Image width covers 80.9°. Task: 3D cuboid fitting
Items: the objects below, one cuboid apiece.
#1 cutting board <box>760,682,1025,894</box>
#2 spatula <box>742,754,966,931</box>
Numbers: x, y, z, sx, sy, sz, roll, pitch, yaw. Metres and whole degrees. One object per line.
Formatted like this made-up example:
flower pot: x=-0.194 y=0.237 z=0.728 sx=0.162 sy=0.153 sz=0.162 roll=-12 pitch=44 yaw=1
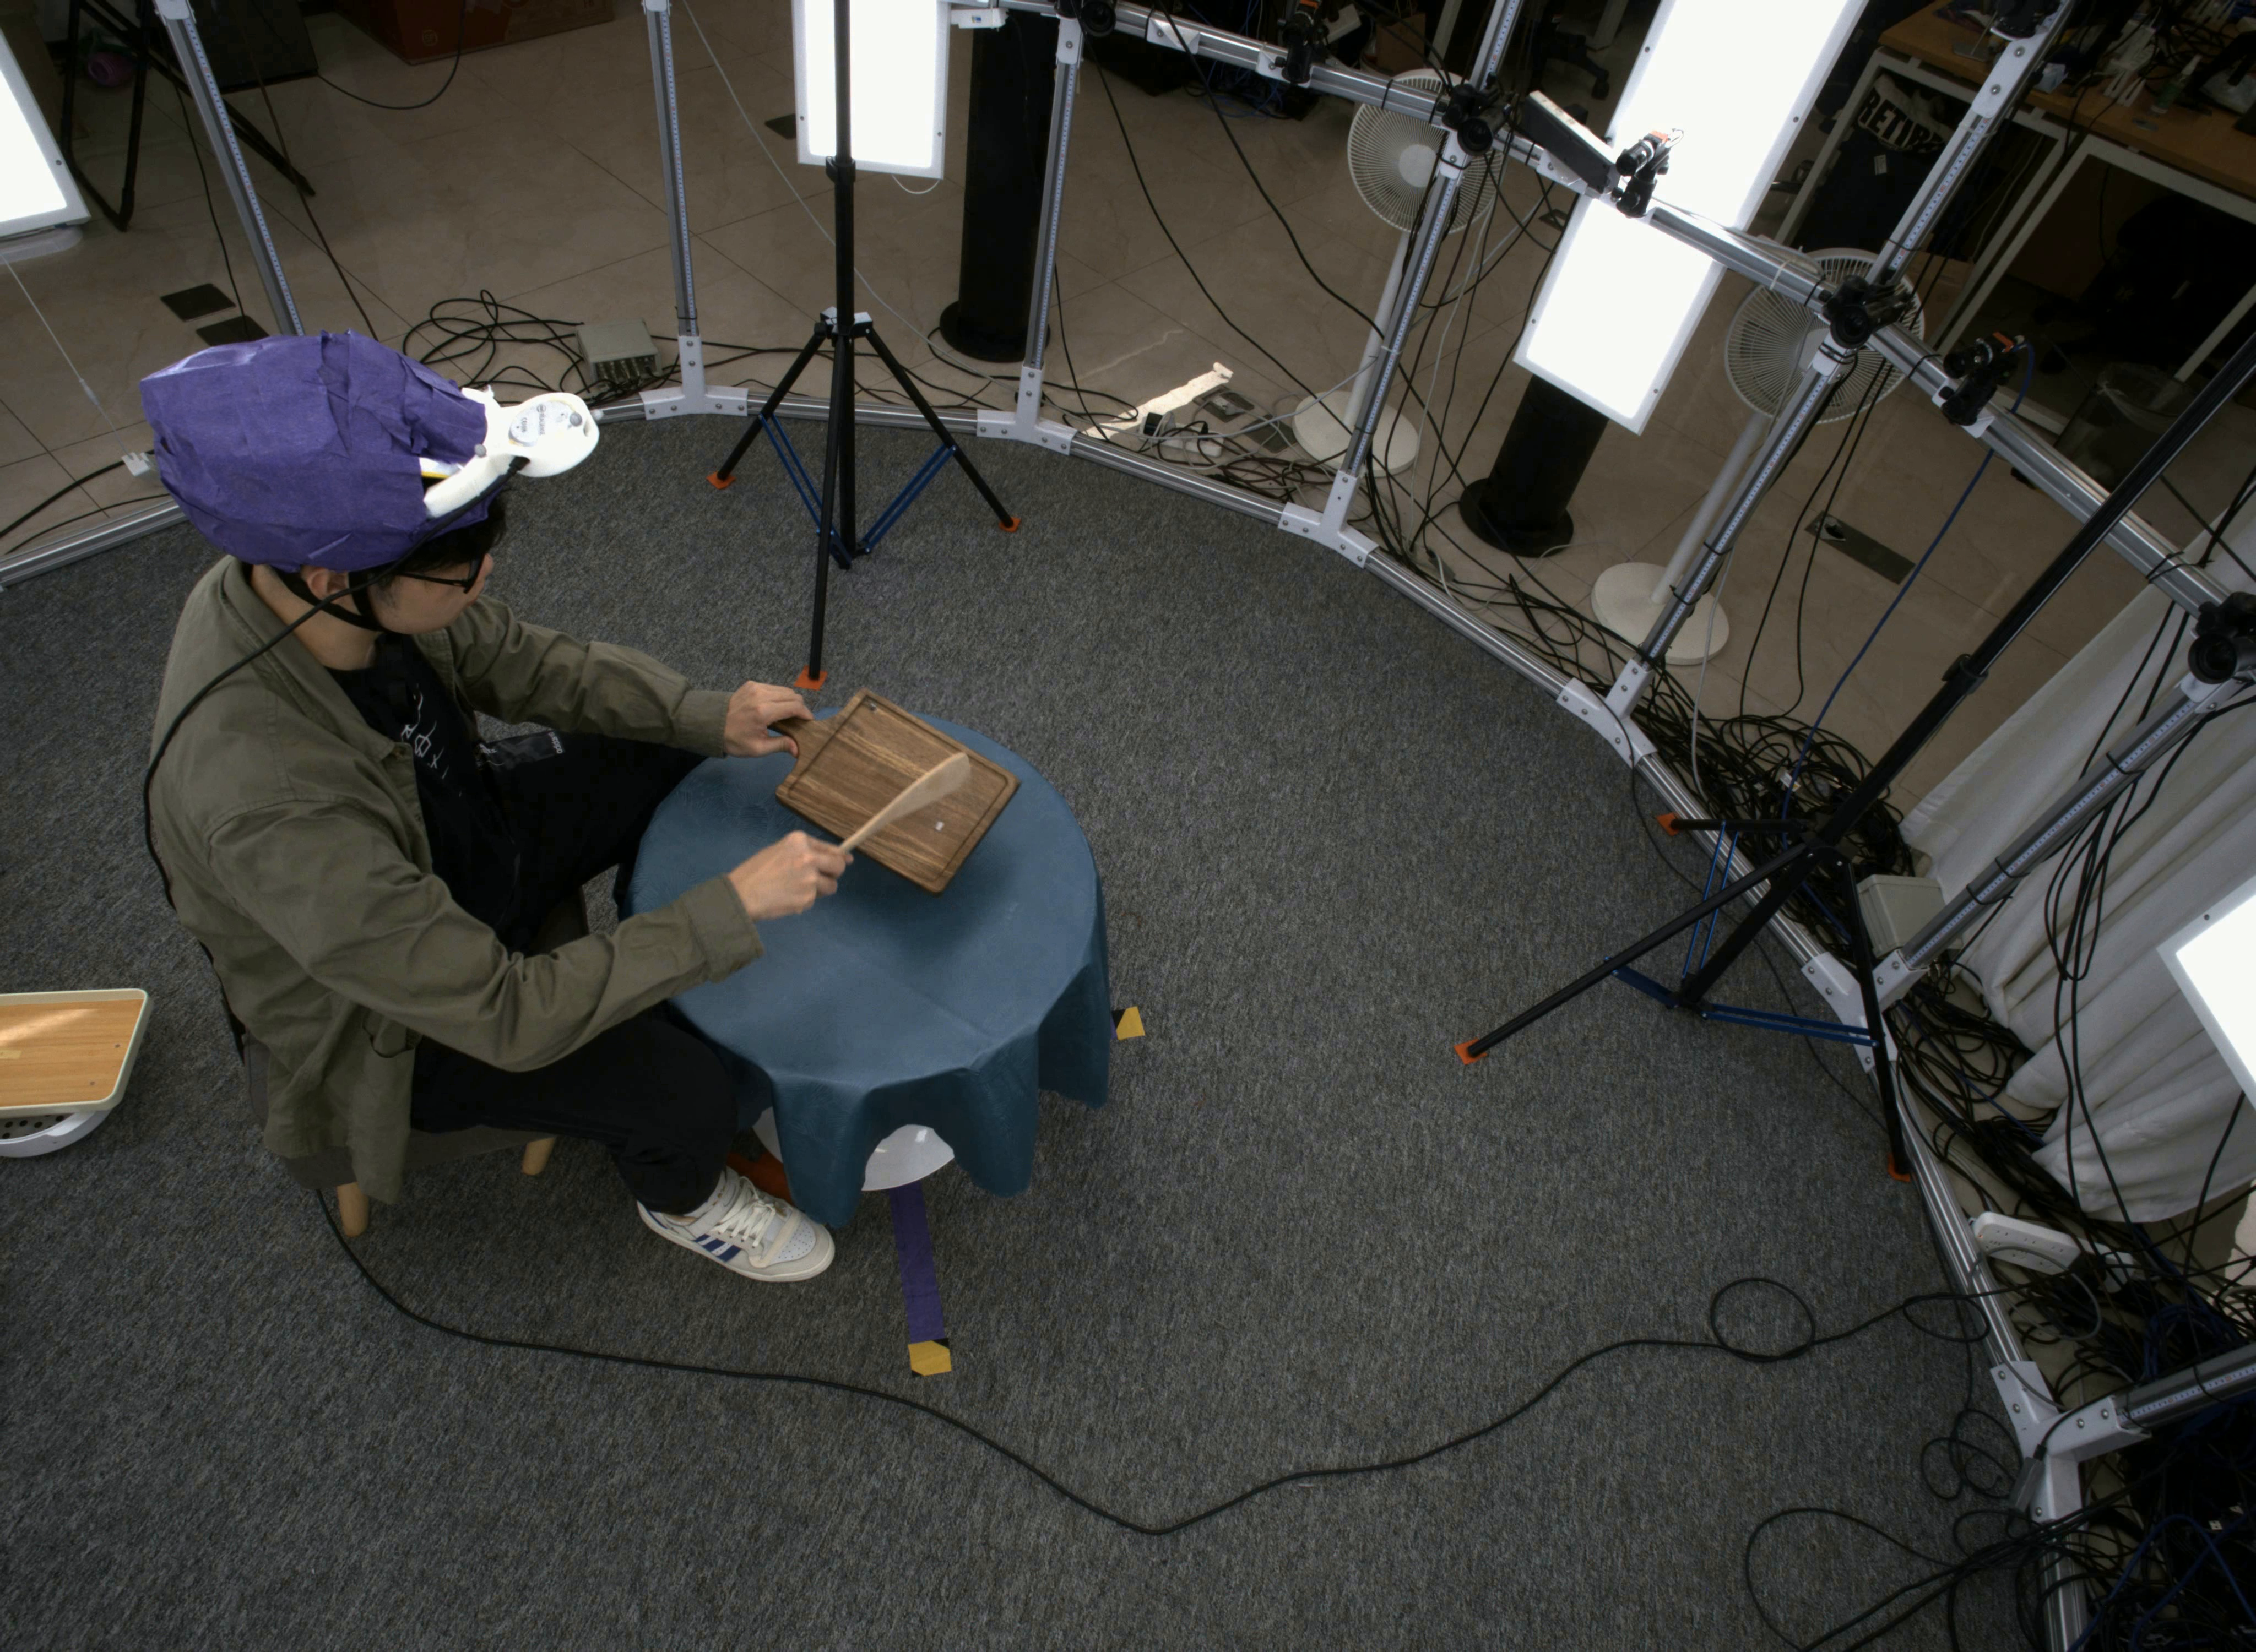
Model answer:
cutting board: x=-0.328 y=-0.079 z=1.679 sx=0.348 sy=0.023 sz=0.200 roll=32 pitch=65 yaw=4
spatula: x=-0.309 y=0.017 z=1.488 sx=0.016 sy=0.081 sz=0.328 roll=42 pitch=61 yaw=14
